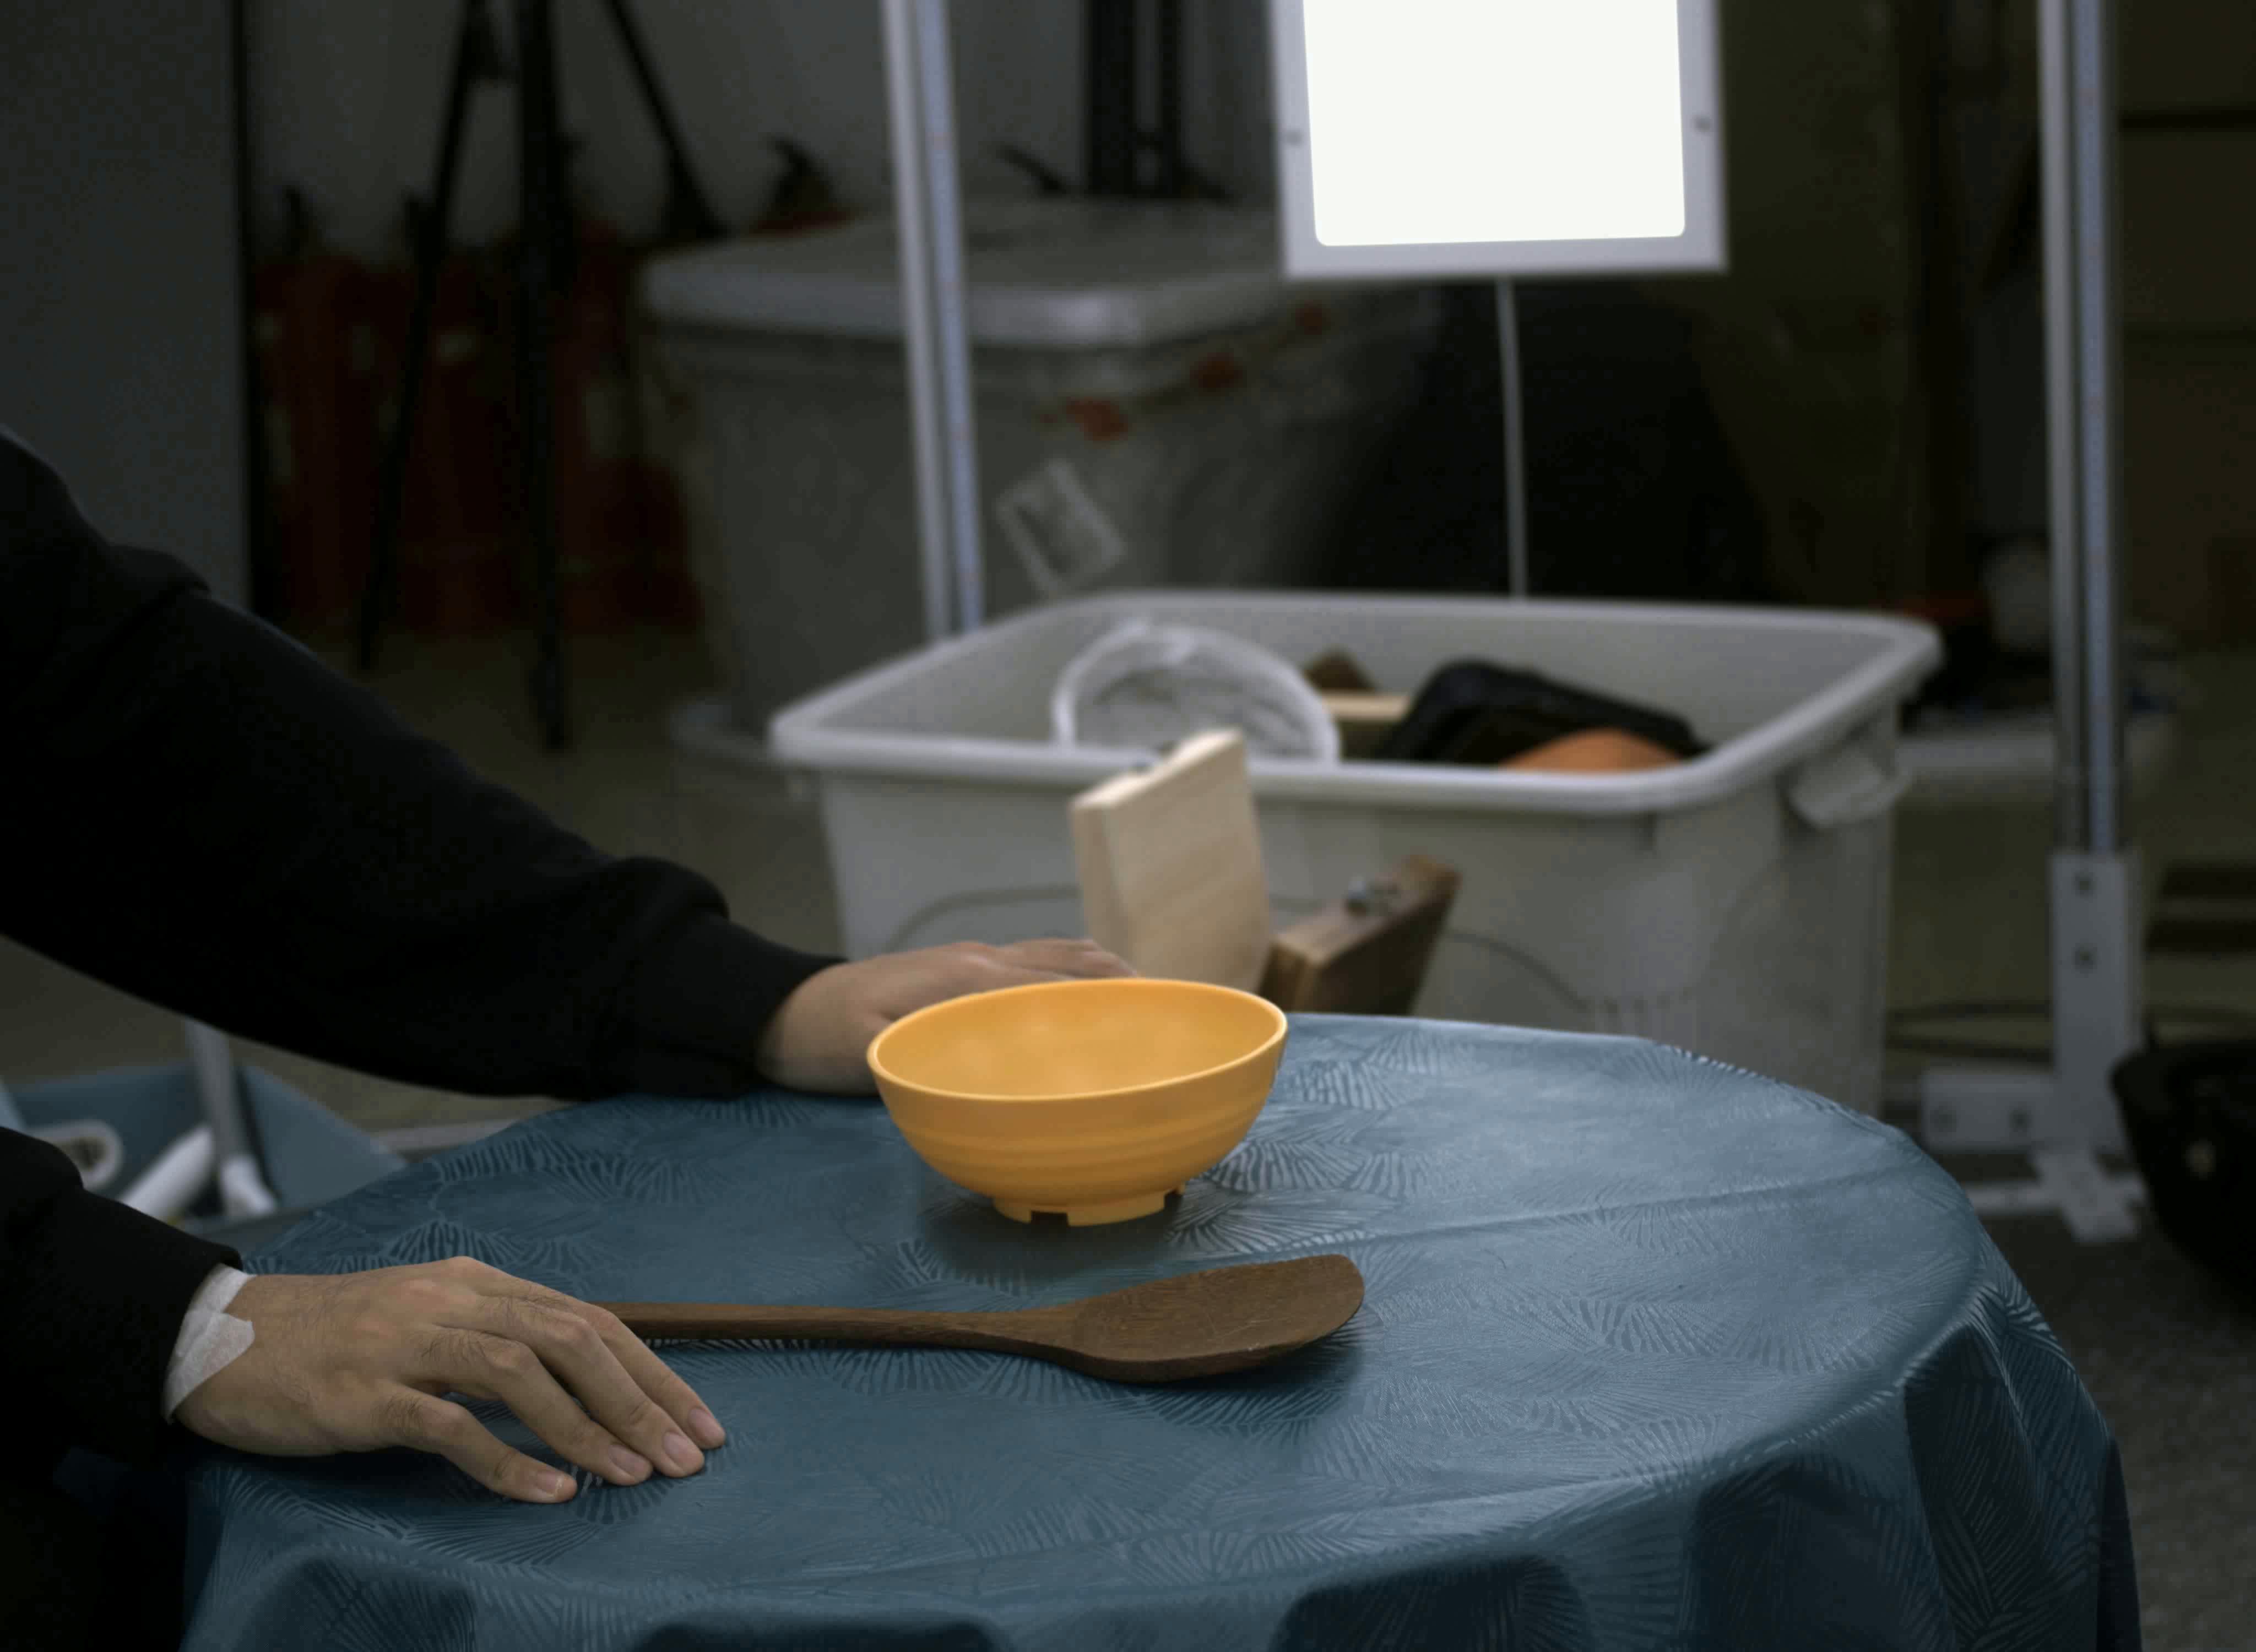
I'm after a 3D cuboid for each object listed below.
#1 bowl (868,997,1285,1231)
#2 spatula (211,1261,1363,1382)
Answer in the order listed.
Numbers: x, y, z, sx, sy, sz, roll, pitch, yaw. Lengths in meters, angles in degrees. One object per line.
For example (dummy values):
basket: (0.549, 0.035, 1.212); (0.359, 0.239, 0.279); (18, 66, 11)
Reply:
bowl: (-0.016, 0.102, 1.888); (0.145, 0.060, 0.145); (-5, 11, 0)
spatula: (-0.115, 0.160, 1.774); (0.389, 0.016, 0.095); (-1, 14, 15)
